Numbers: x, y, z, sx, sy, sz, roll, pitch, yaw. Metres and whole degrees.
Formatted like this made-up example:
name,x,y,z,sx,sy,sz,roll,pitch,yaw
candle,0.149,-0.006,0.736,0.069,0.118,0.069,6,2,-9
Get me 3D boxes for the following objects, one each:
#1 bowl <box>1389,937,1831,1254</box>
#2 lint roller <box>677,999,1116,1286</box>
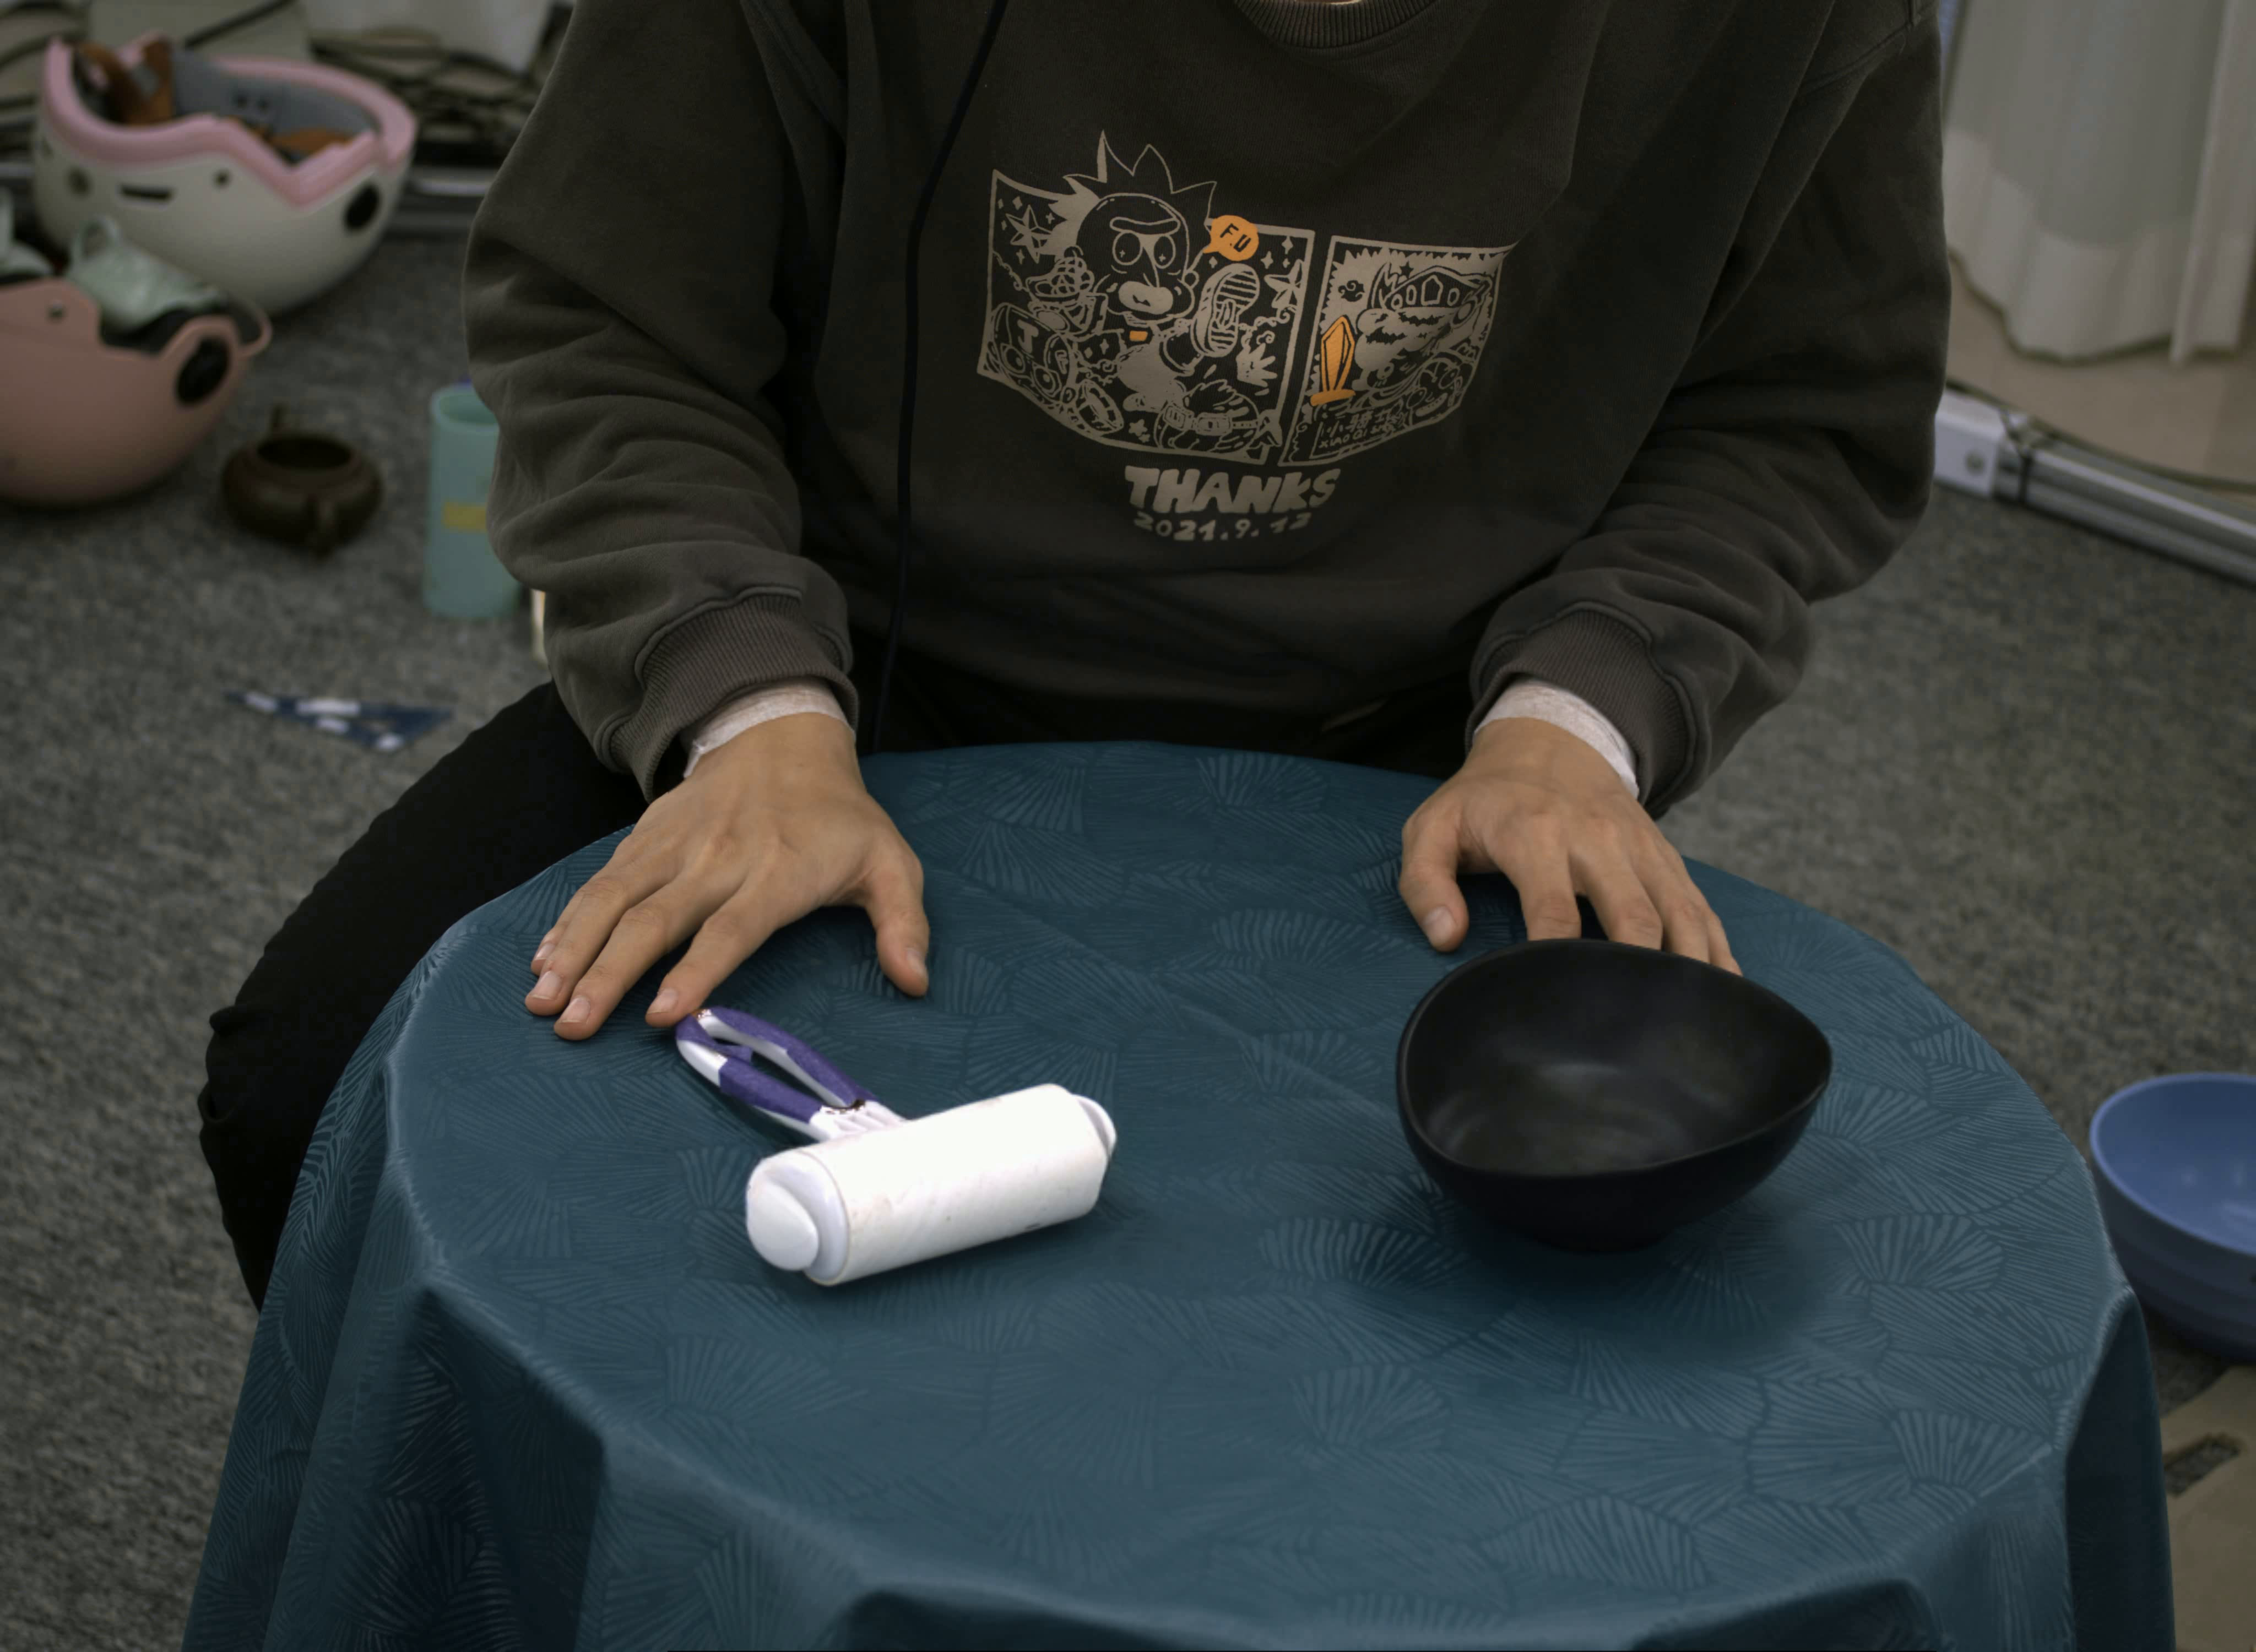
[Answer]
name,x,y,z,sx,sy,sz,roll,pitch,yaw
bowl,0.162,0.102,1.814,0.138,0.066,0.169,24,33,34
lint roller,-0.098,0.088,1.799,0.132,0.050,0.182,-12,34,-31
